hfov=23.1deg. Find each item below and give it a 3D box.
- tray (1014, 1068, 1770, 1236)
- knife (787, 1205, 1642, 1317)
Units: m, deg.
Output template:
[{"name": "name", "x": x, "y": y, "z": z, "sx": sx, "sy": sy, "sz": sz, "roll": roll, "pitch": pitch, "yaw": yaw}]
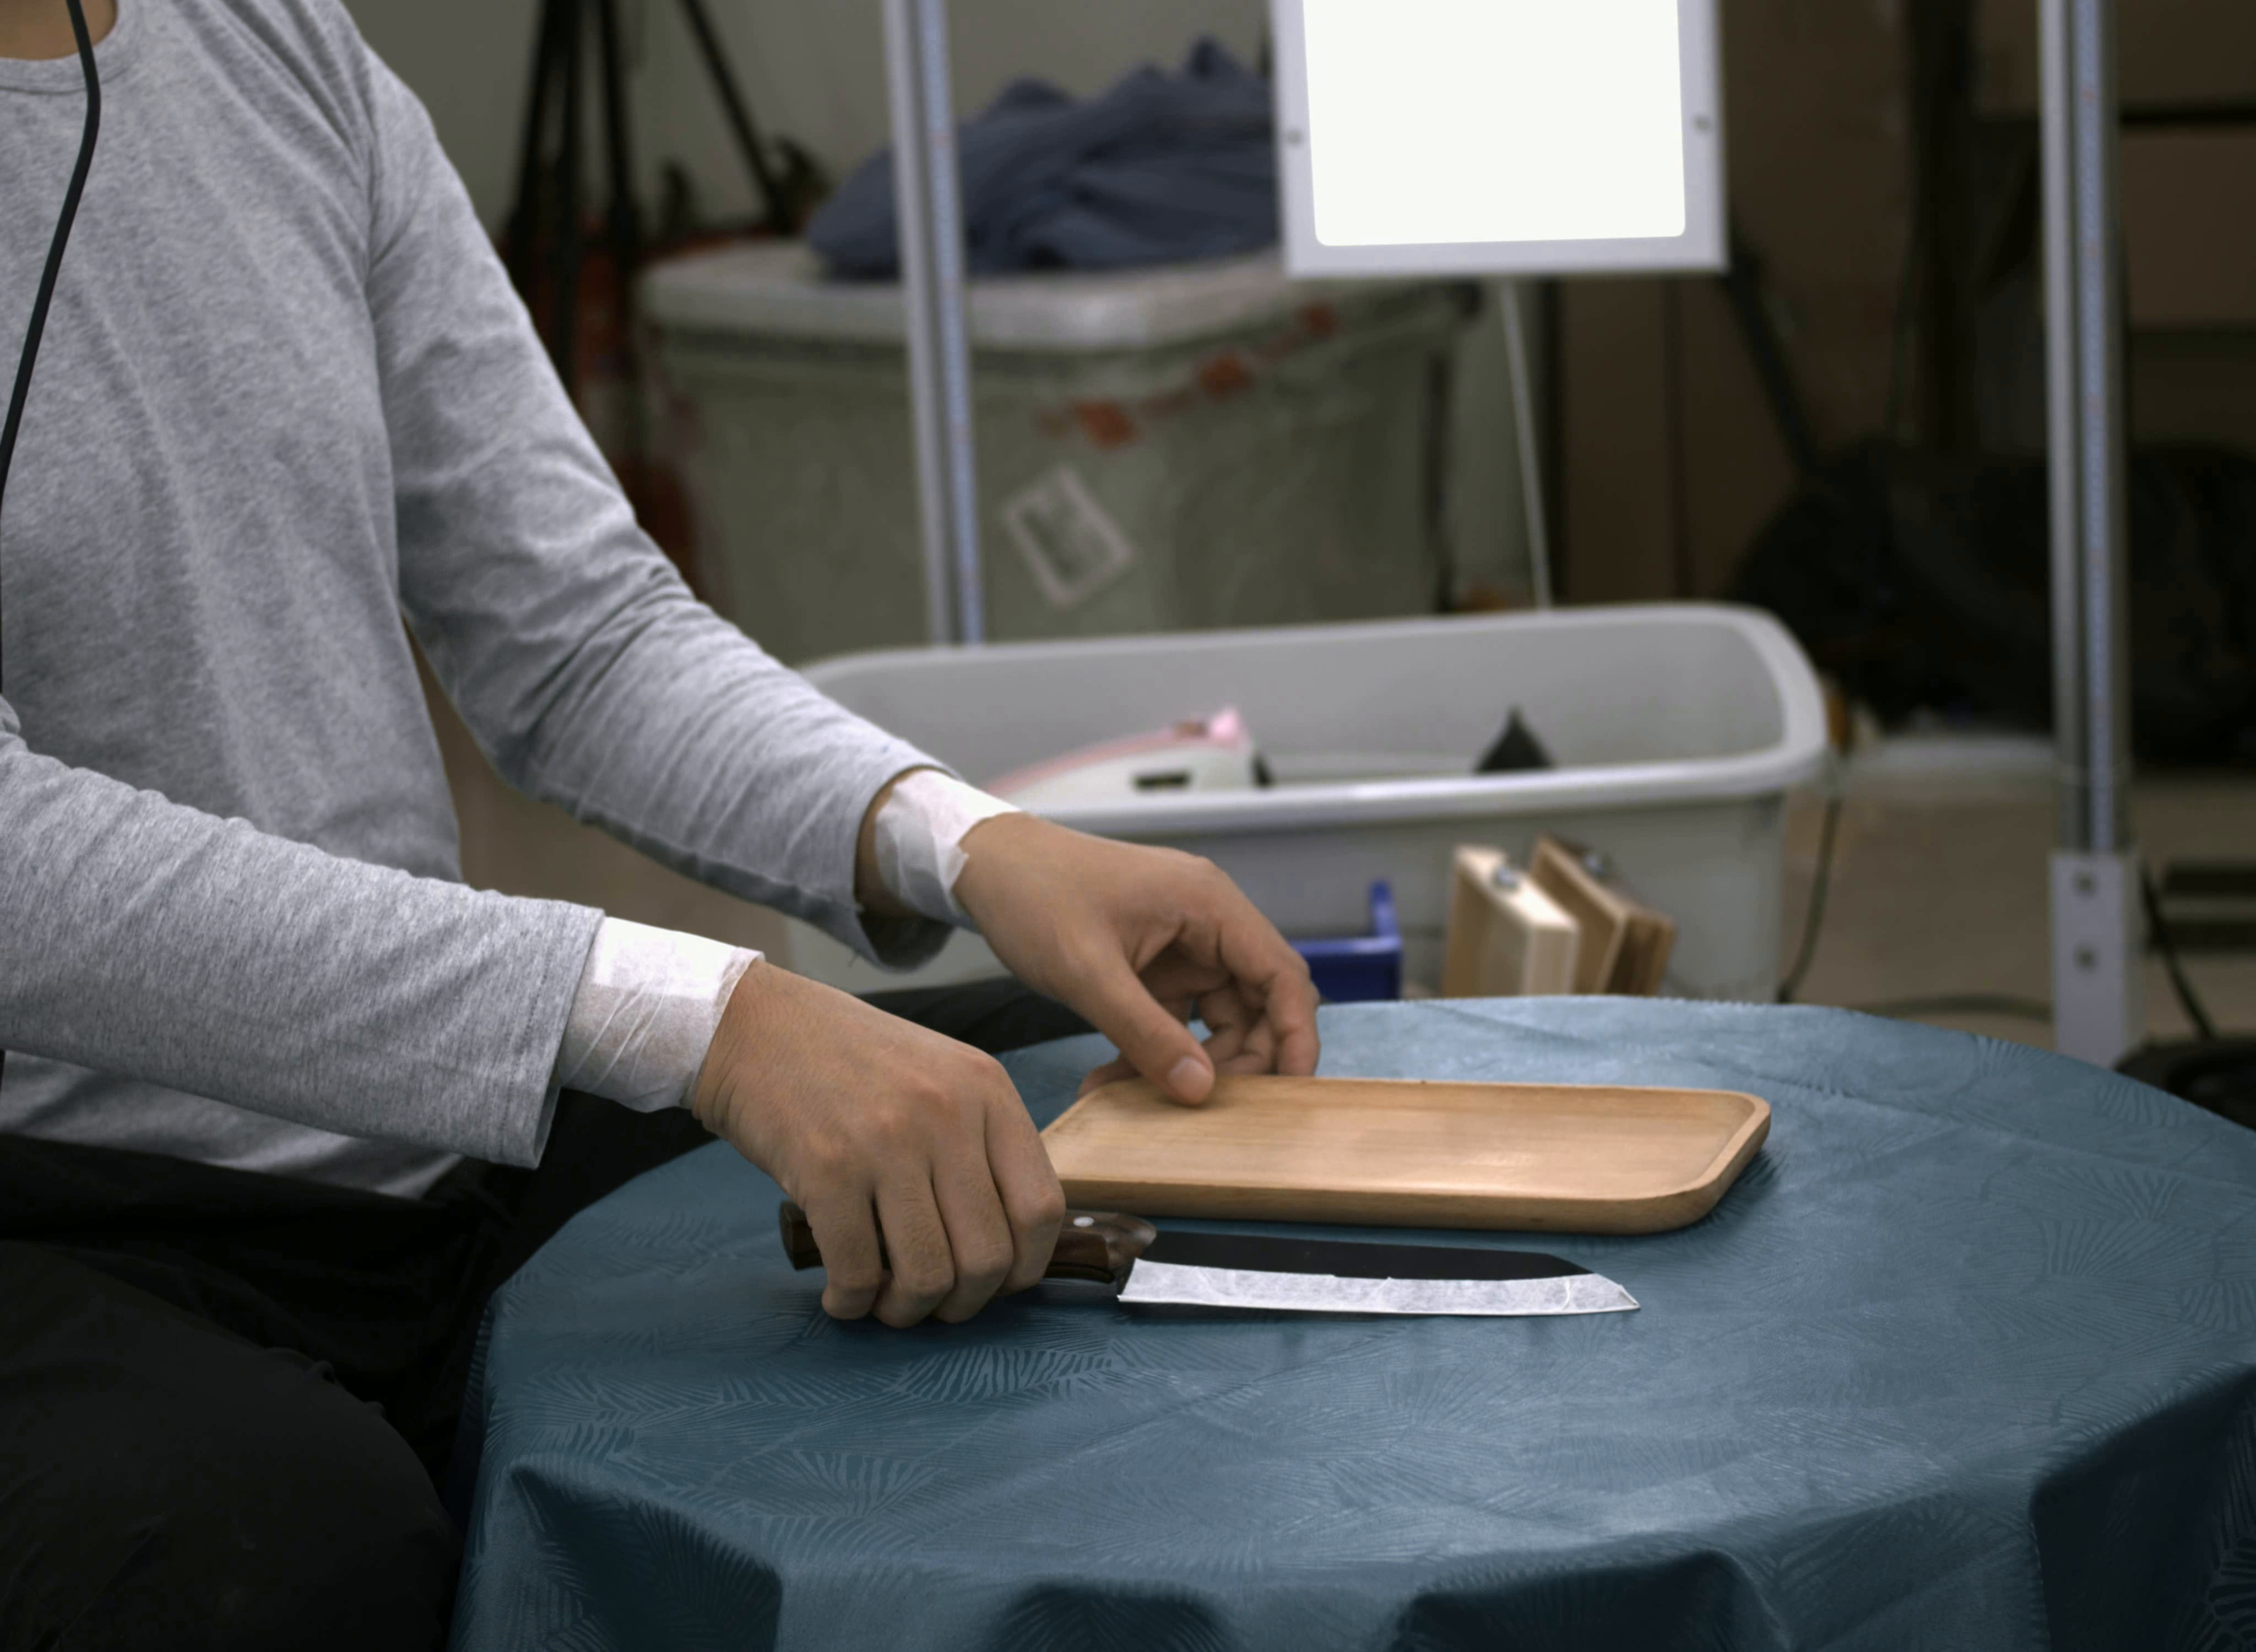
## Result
[{"name": "tray", "x": 0.091, "y": 0.112, "z": 1.898, "sx": 0.254, "sy": 0.023, "sz": 0.128, "roll": 0, "pitch": 12, "yaw": 24}, {"name": "knife", "x": 0.025, "y": 0.143, "z": 1.784, "sx": 0.292, "sy": 0.020, "sz": 0.049, "roll": 3, "pitch": 28, "yaw": 17}]
